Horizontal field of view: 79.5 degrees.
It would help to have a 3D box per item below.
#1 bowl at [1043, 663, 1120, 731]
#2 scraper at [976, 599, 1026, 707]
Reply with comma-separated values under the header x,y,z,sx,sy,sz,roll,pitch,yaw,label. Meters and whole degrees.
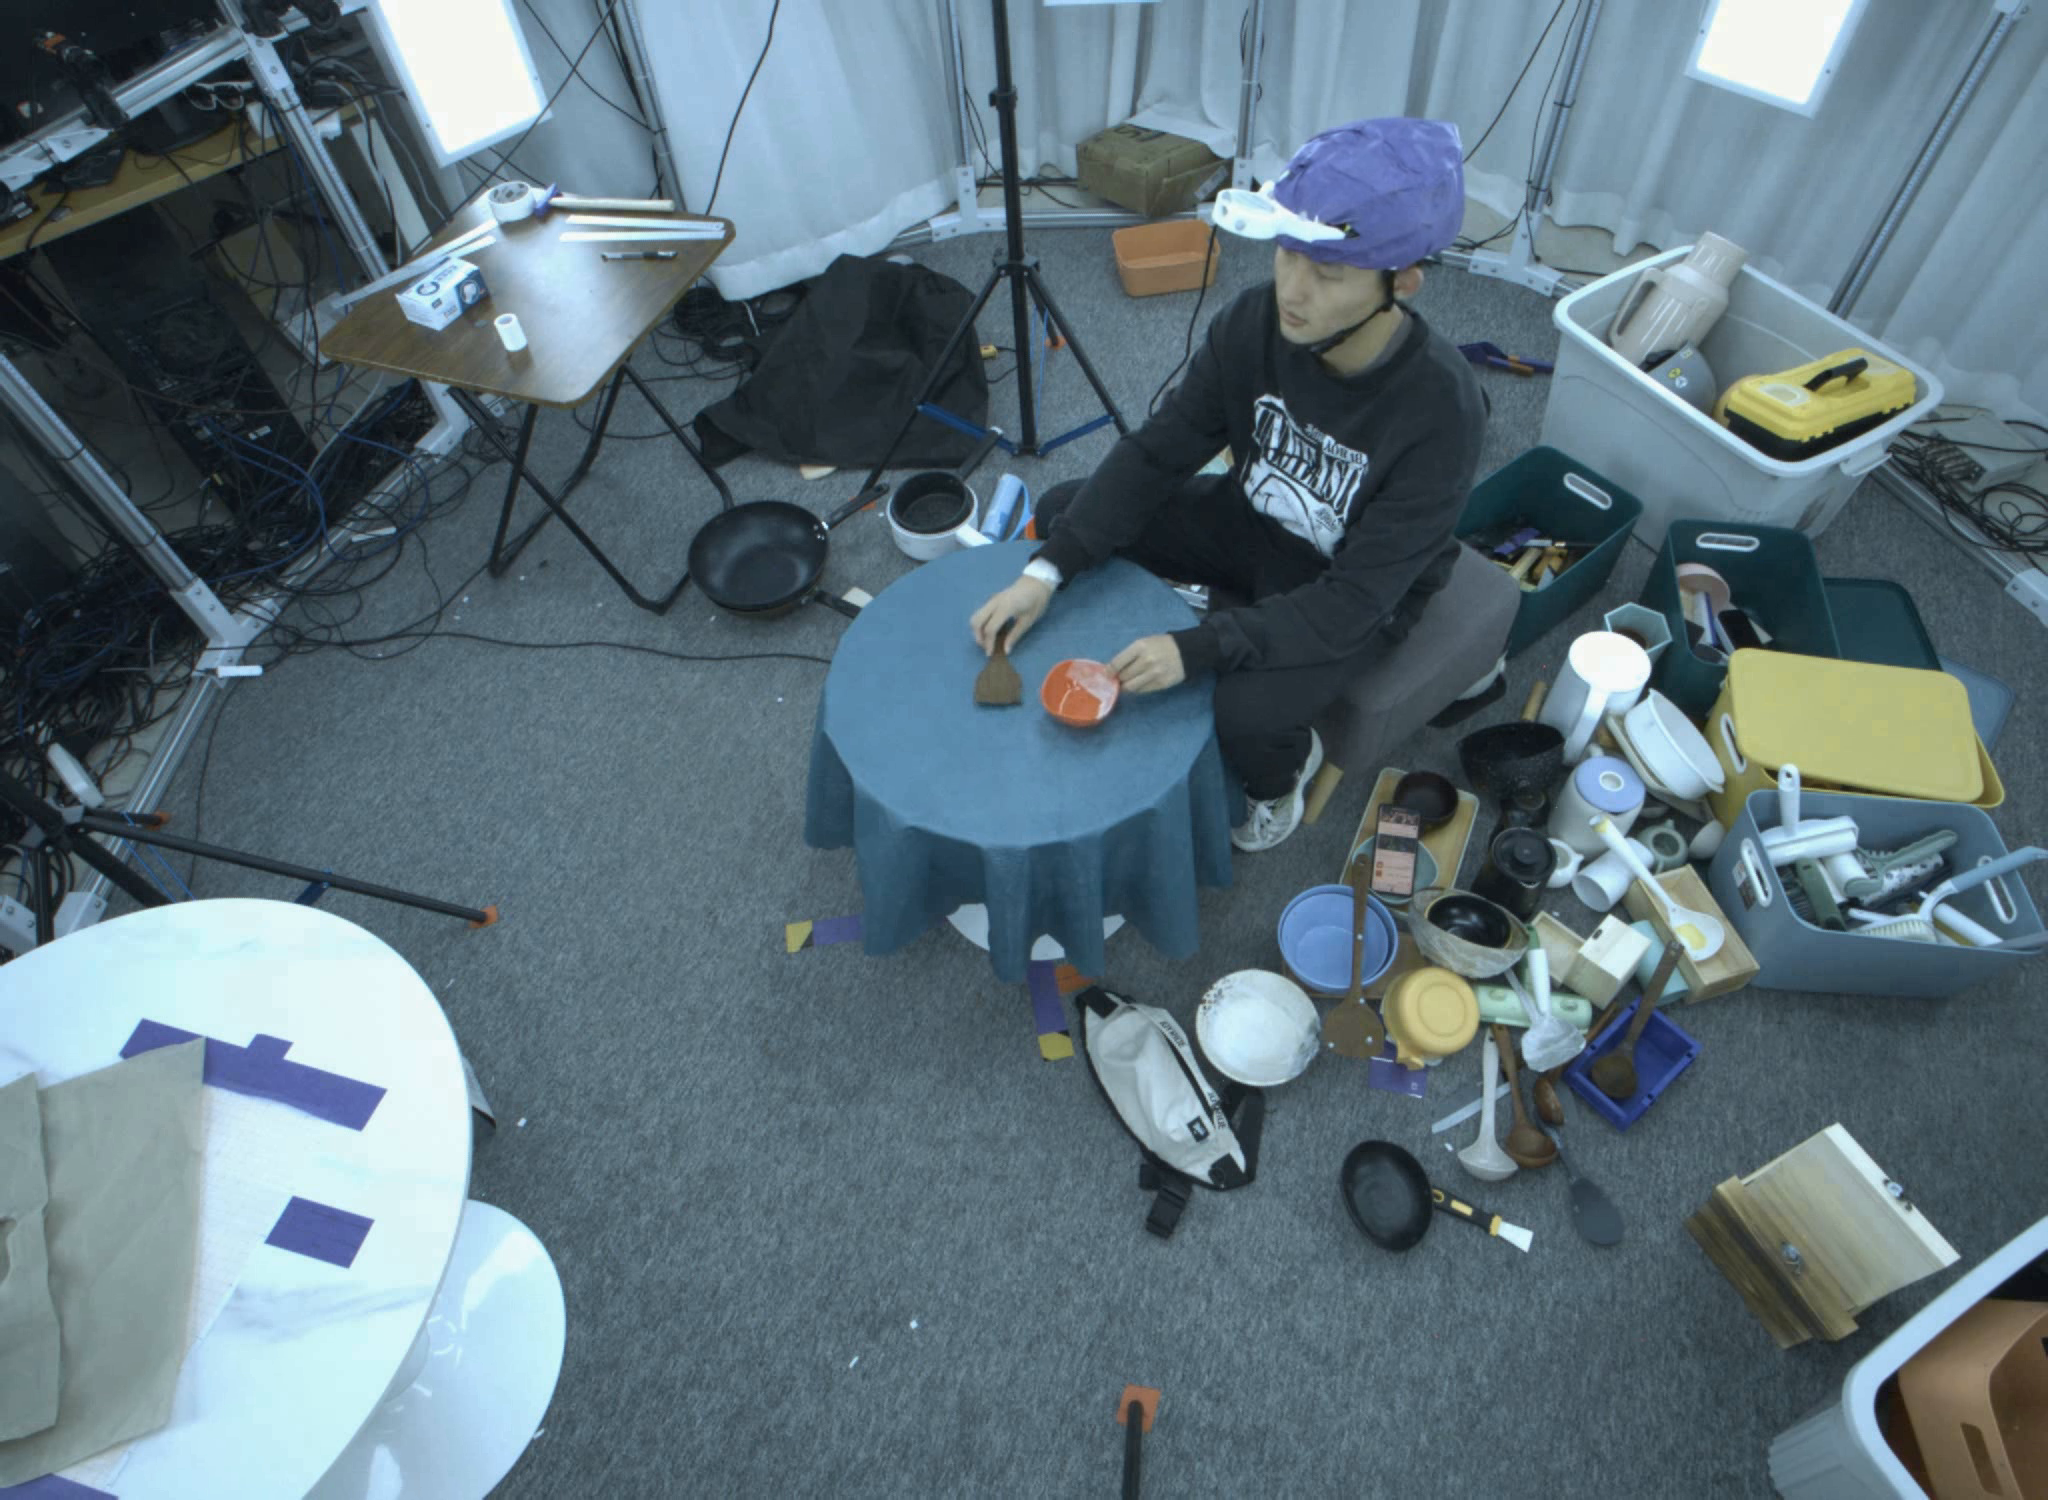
x,y,z,sx,sy,sz,roll,pitch,yaw,label
0.087,-0.071,1.814,0.118,0.052,0.118,-2,55,4,bowl
-0.038,-0.151,1.892,0.076,0.011,0.209,0,58,-4,scraper
